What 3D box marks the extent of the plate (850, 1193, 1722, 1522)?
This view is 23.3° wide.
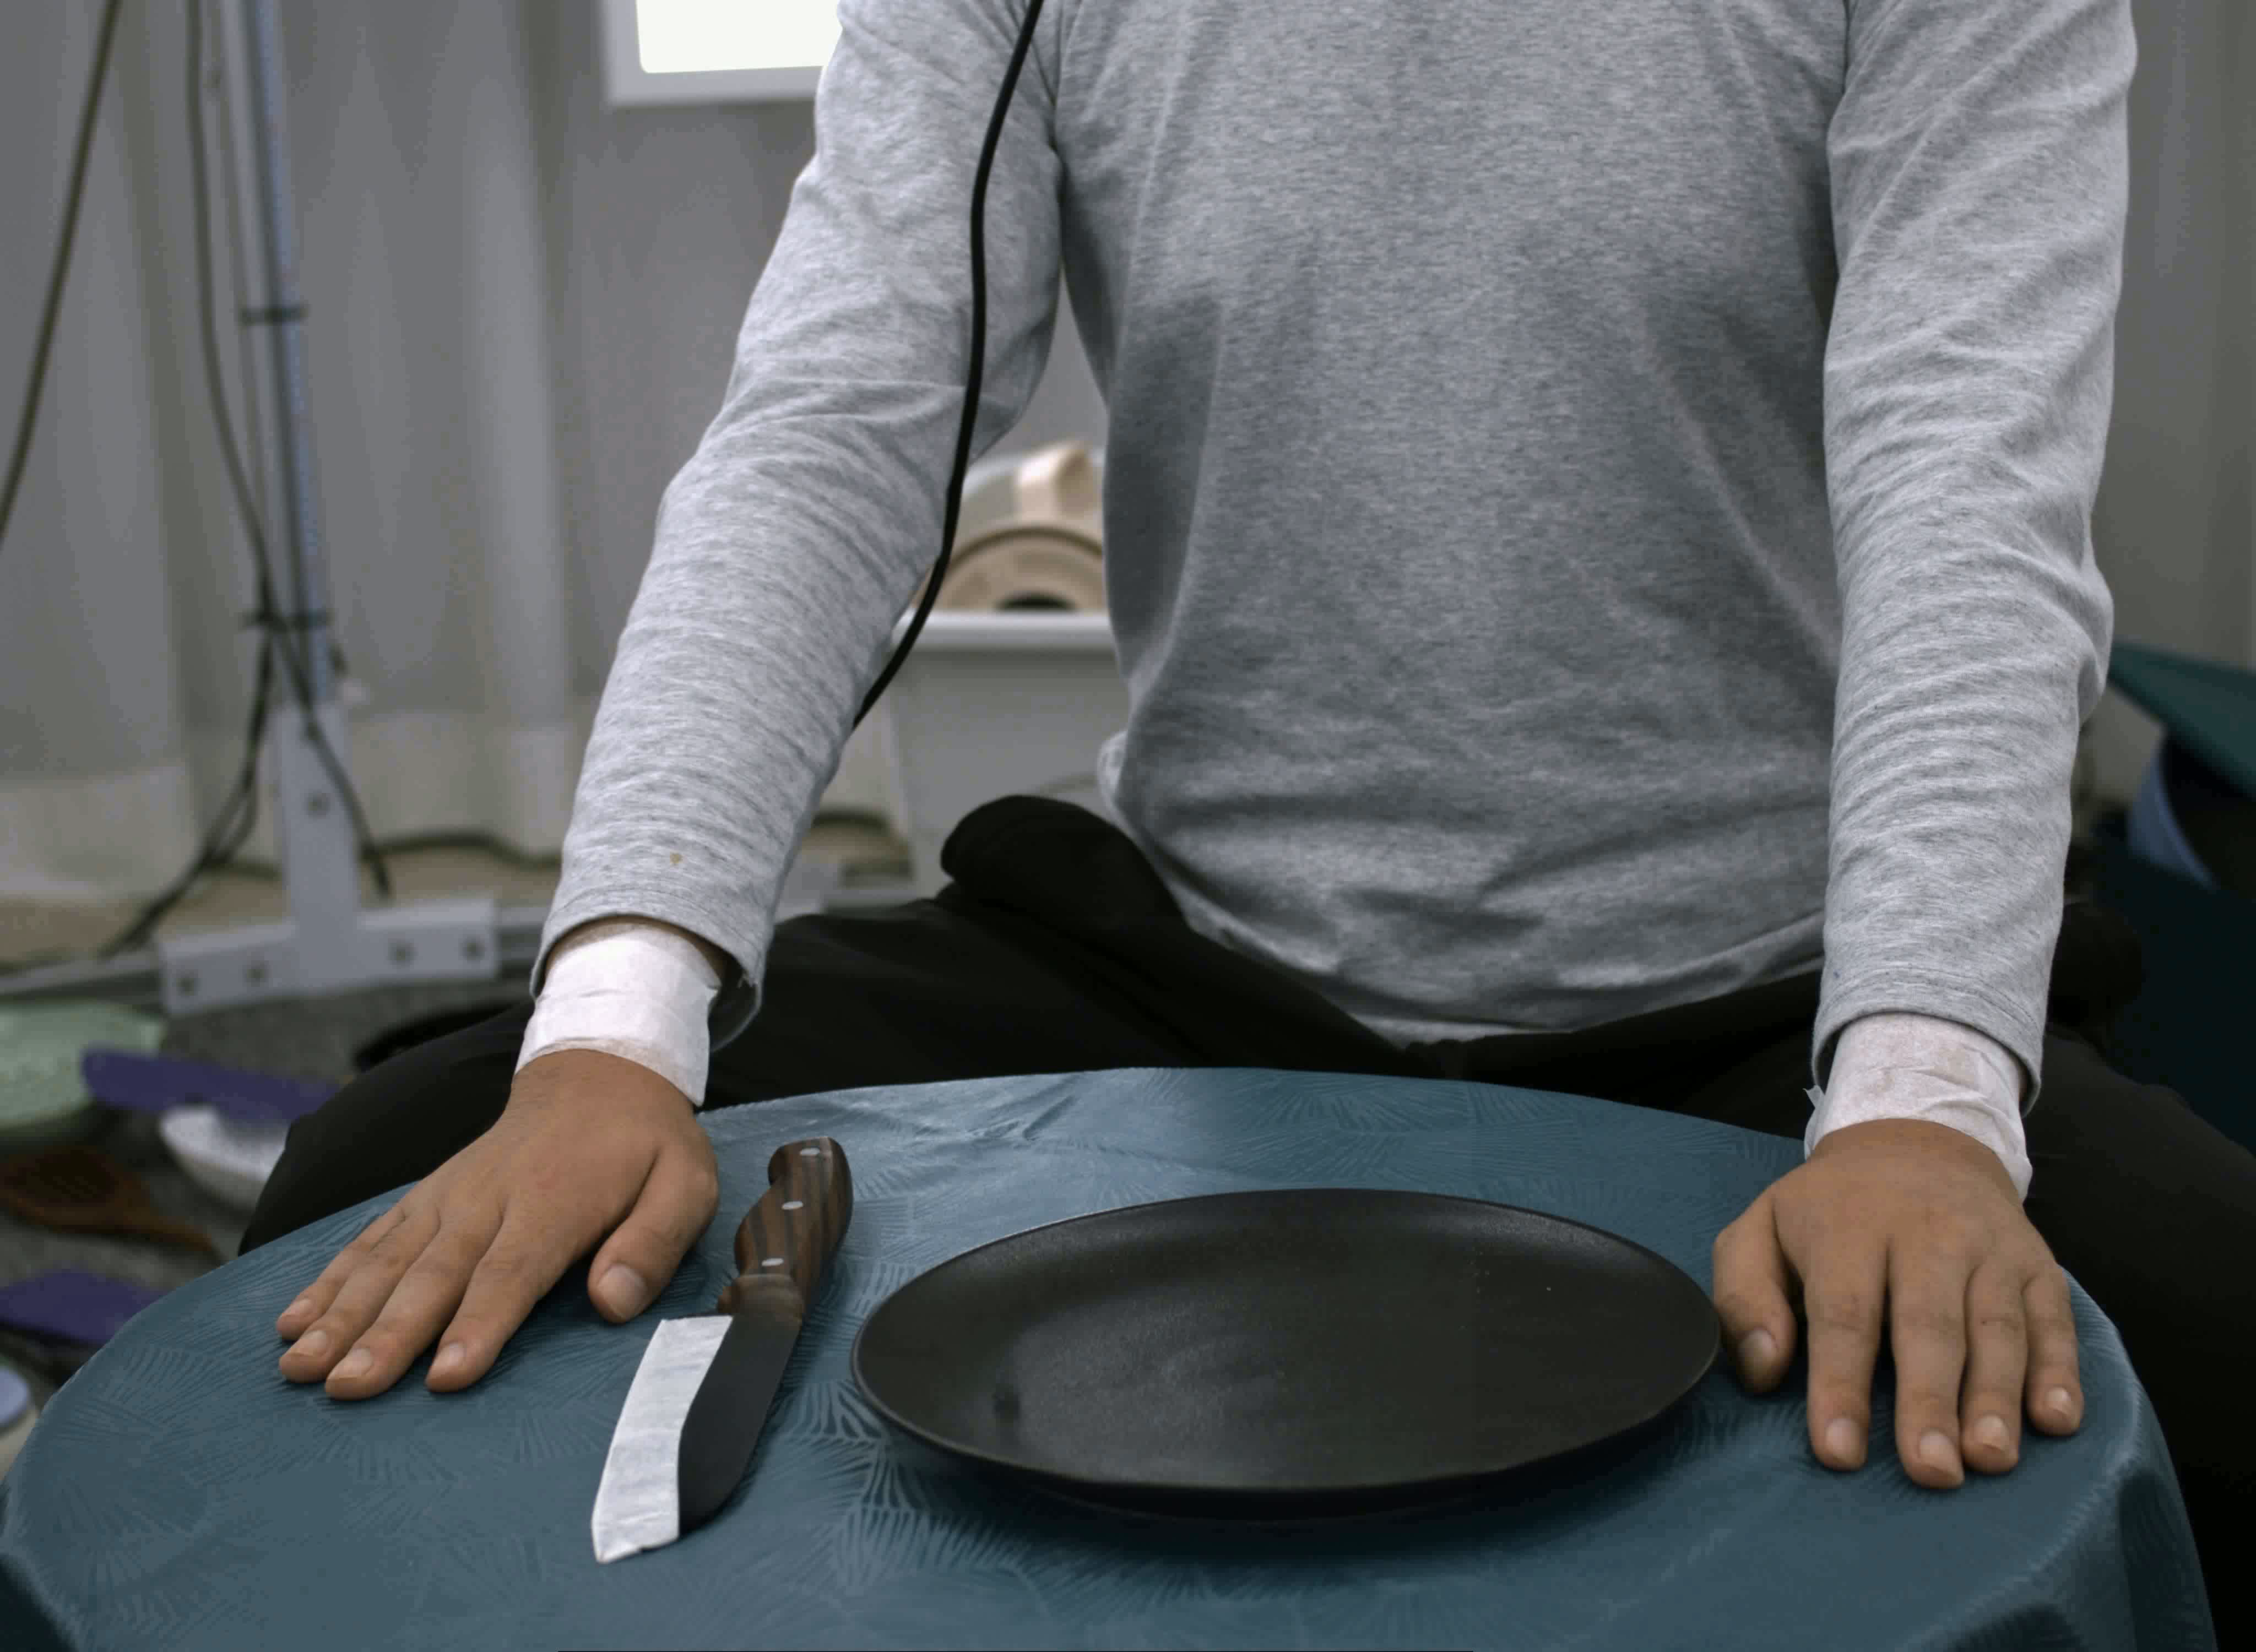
[{"bbox_3d":[0.044,0.151,1.528,0.243,0.023,0.246,-3,14,0],"label":"plate"}]

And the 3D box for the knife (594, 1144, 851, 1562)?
[{"bbox_3d":[-0.115,0.151,1.576,0.050,0.020,0.291,-5,17,9],"label":"knife"}]
